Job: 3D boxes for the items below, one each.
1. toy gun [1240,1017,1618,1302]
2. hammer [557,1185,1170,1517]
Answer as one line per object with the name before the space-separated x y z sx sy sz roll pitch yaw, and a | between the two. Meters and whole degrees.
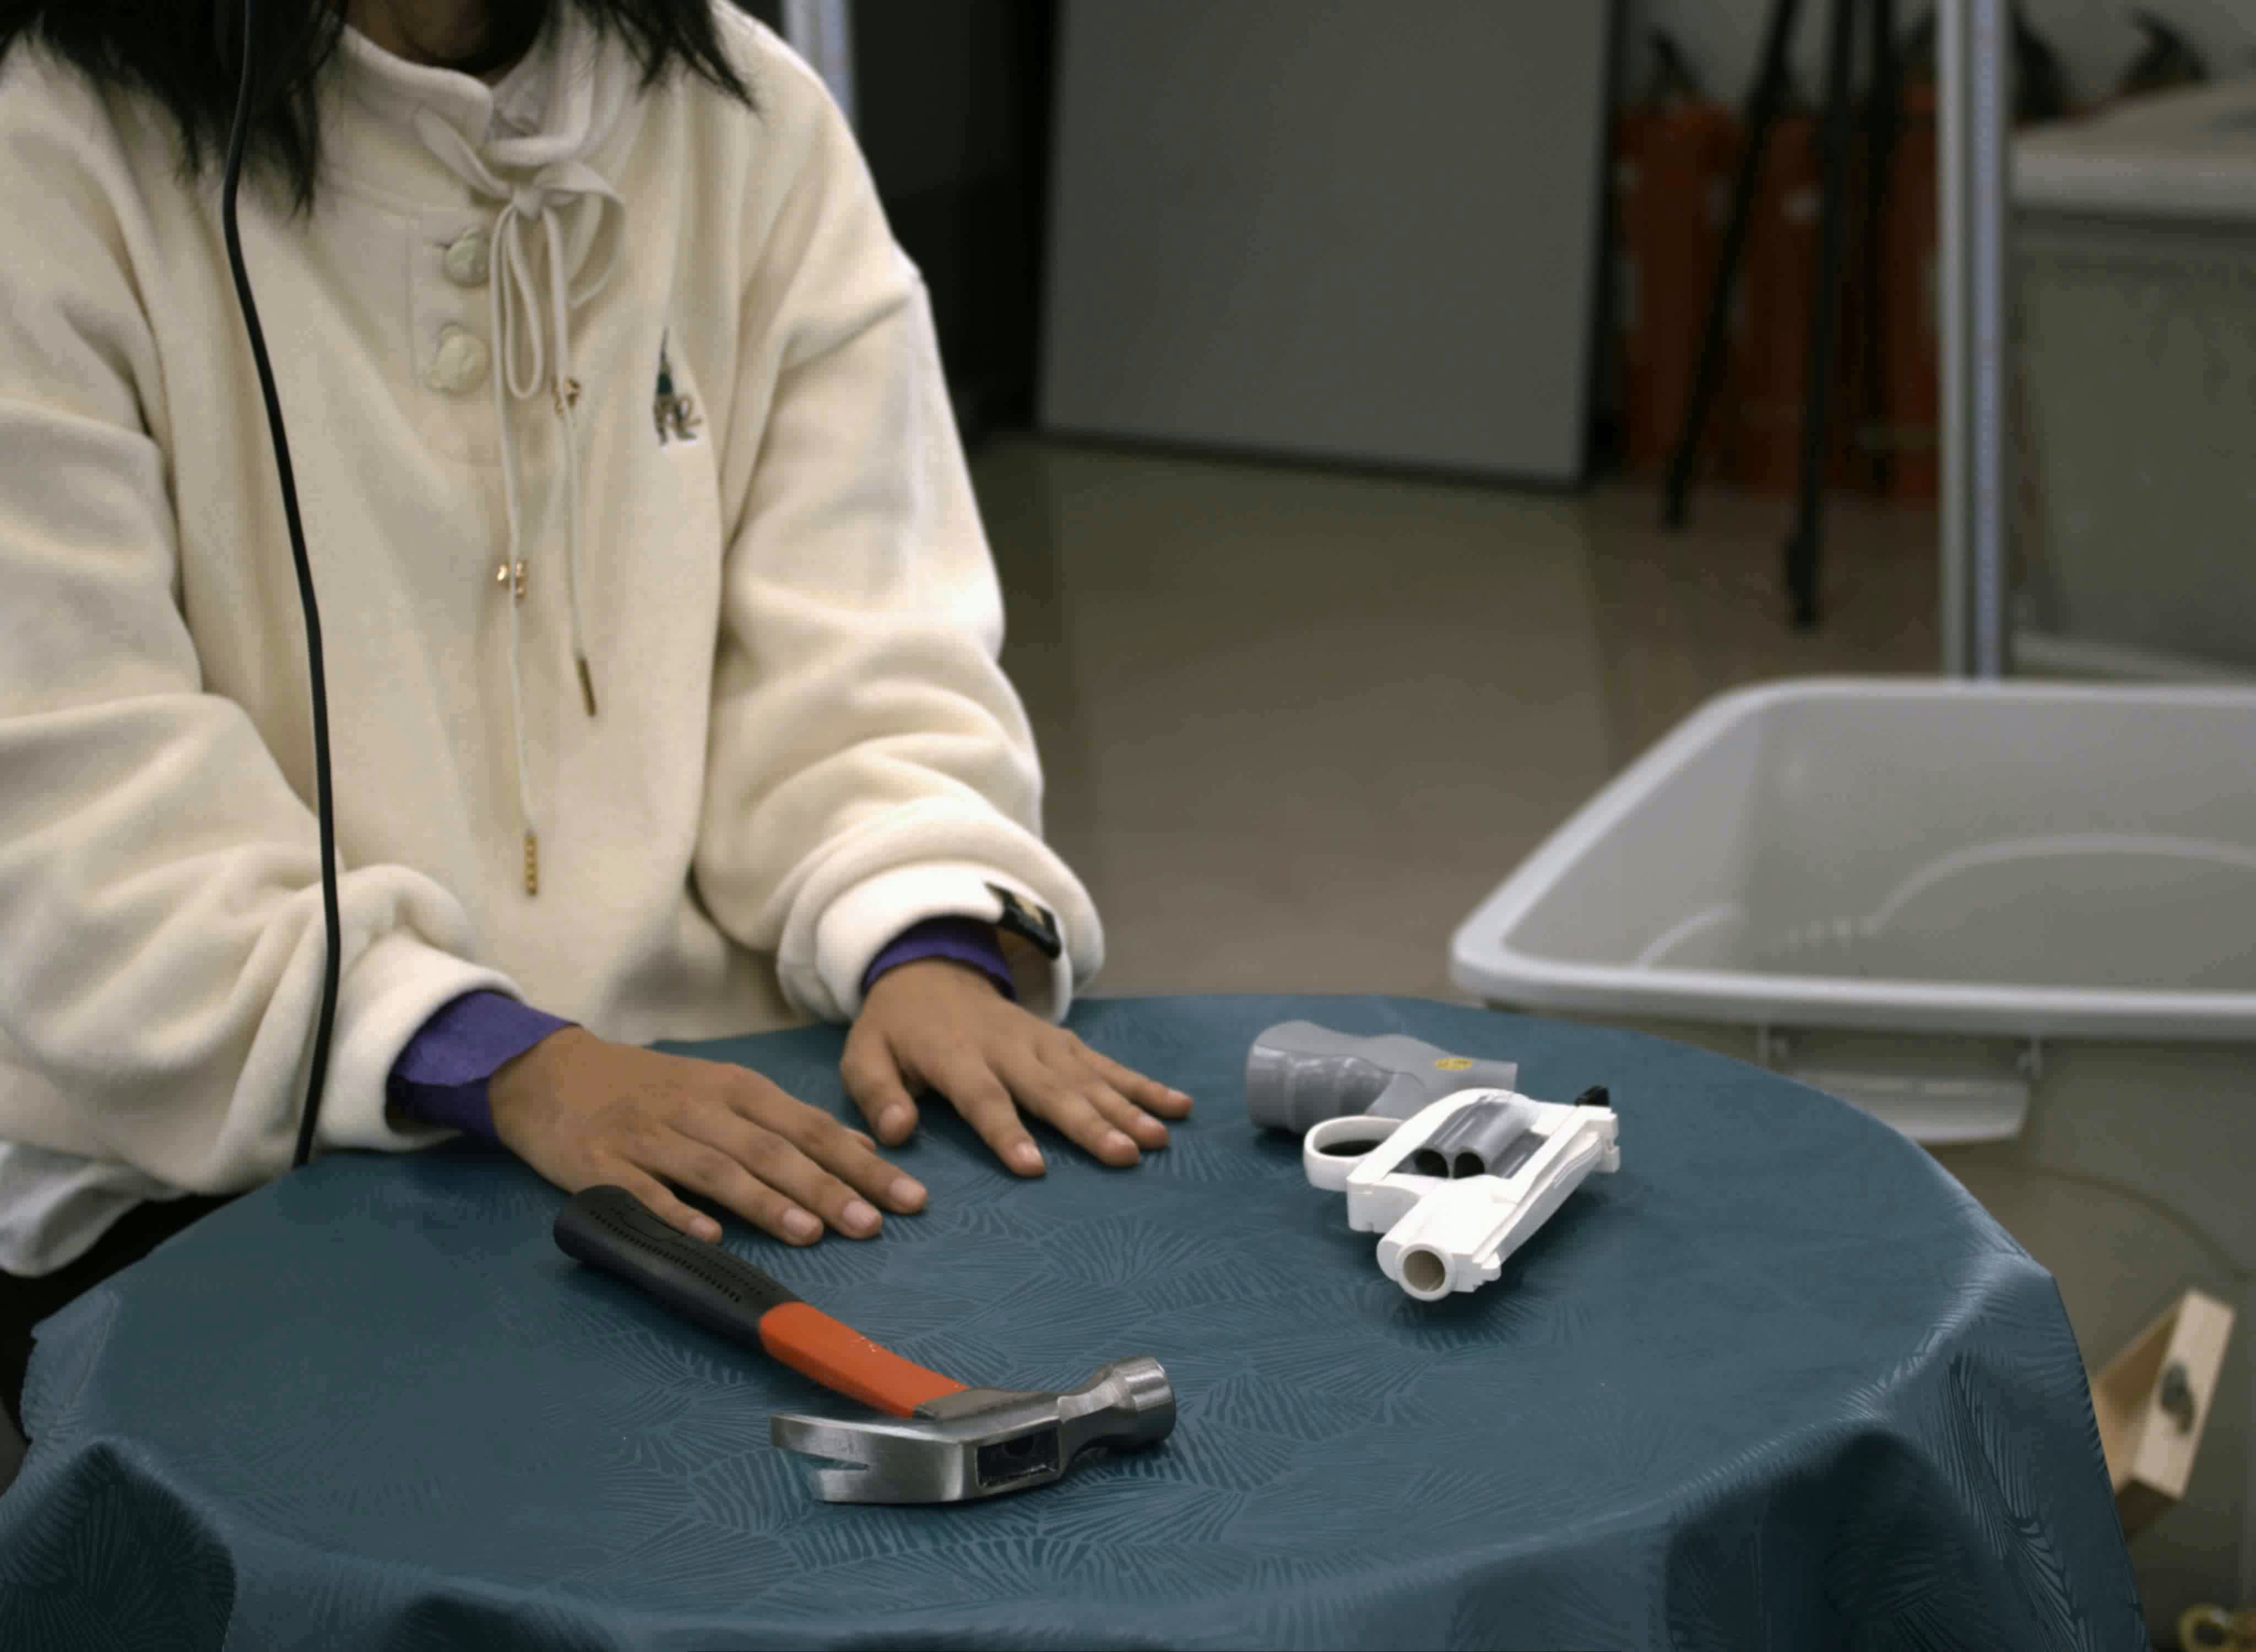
toy gun | 0.083 0.105 1.727 0.141 0.039 0.207 3 15 20
hammer | -0.102 0.151 1.621 0.108 0.026 0.280 -21 20 -26
